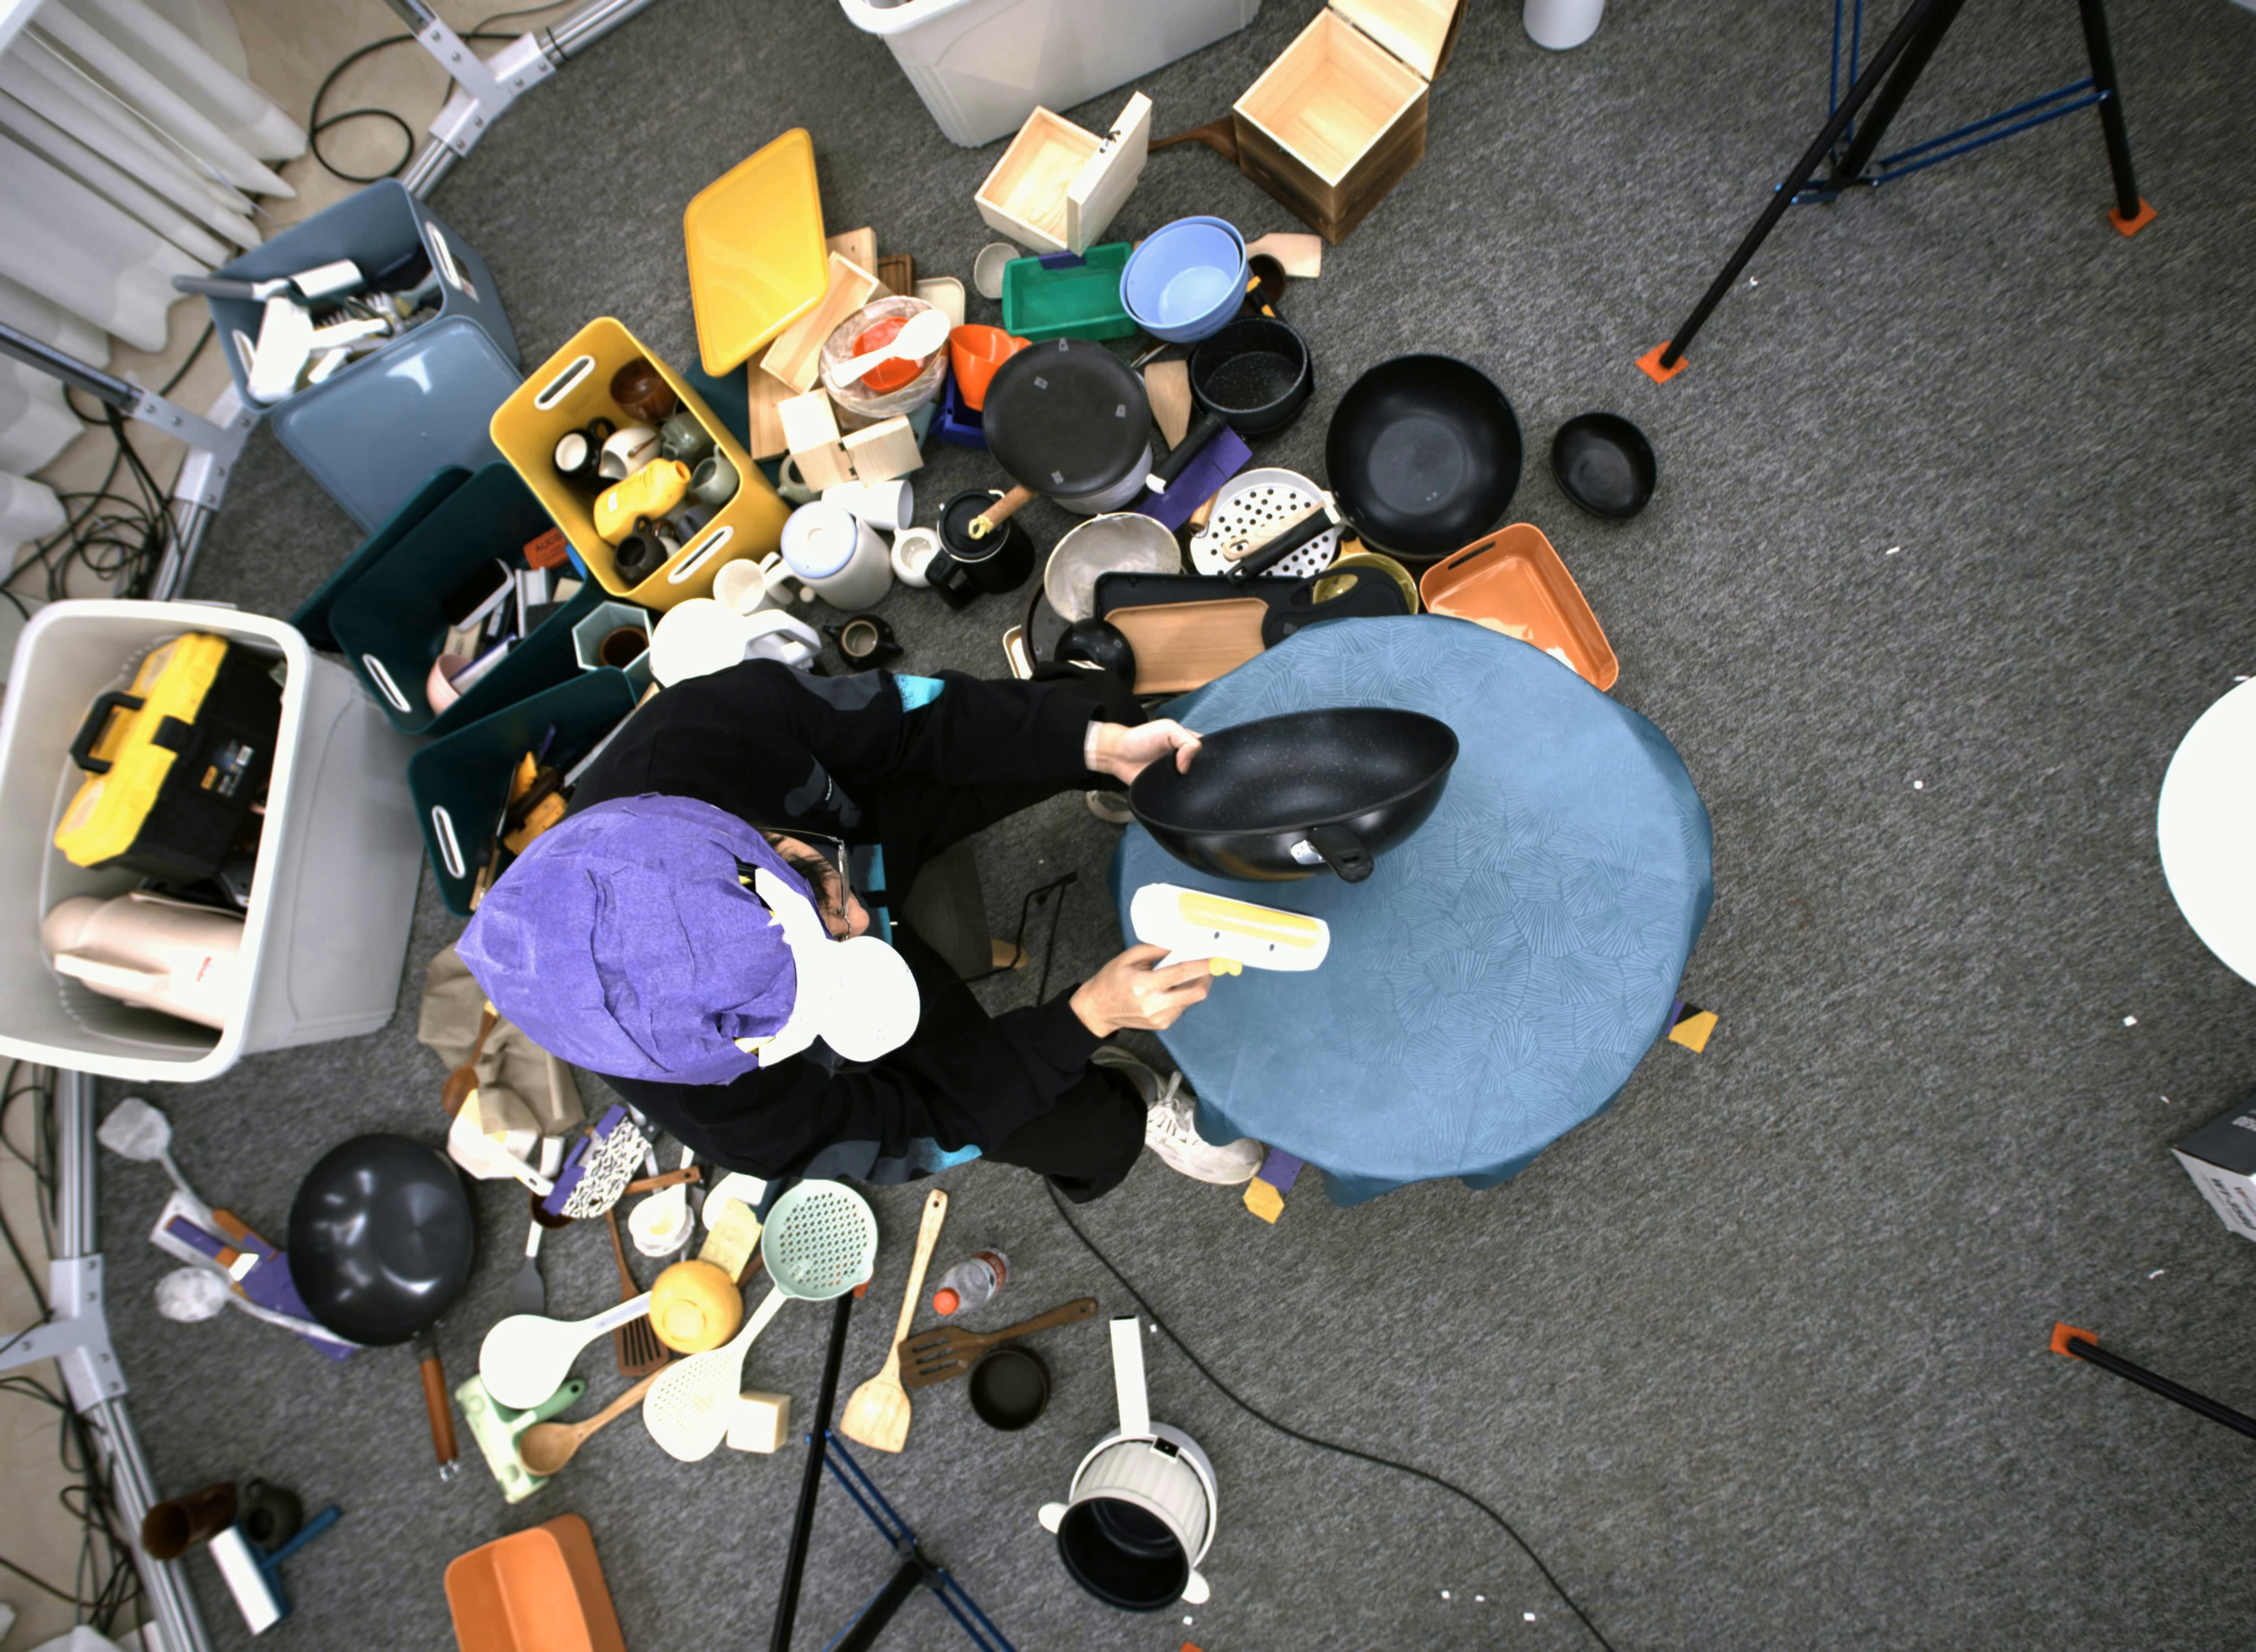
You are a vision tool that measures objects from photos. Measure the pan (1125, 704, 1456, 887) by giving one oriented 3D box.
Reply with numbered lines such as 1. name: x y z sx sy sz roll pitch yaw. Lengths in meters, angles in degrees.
1. pan: 0.158 -0.003 1.213 0.311 0.468 0.113 -14 111 2

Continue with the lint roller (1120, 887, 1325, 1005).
1. lint roller: 0.064 0.119 1.296 0.192 0.196 0.073 7 69 -22
